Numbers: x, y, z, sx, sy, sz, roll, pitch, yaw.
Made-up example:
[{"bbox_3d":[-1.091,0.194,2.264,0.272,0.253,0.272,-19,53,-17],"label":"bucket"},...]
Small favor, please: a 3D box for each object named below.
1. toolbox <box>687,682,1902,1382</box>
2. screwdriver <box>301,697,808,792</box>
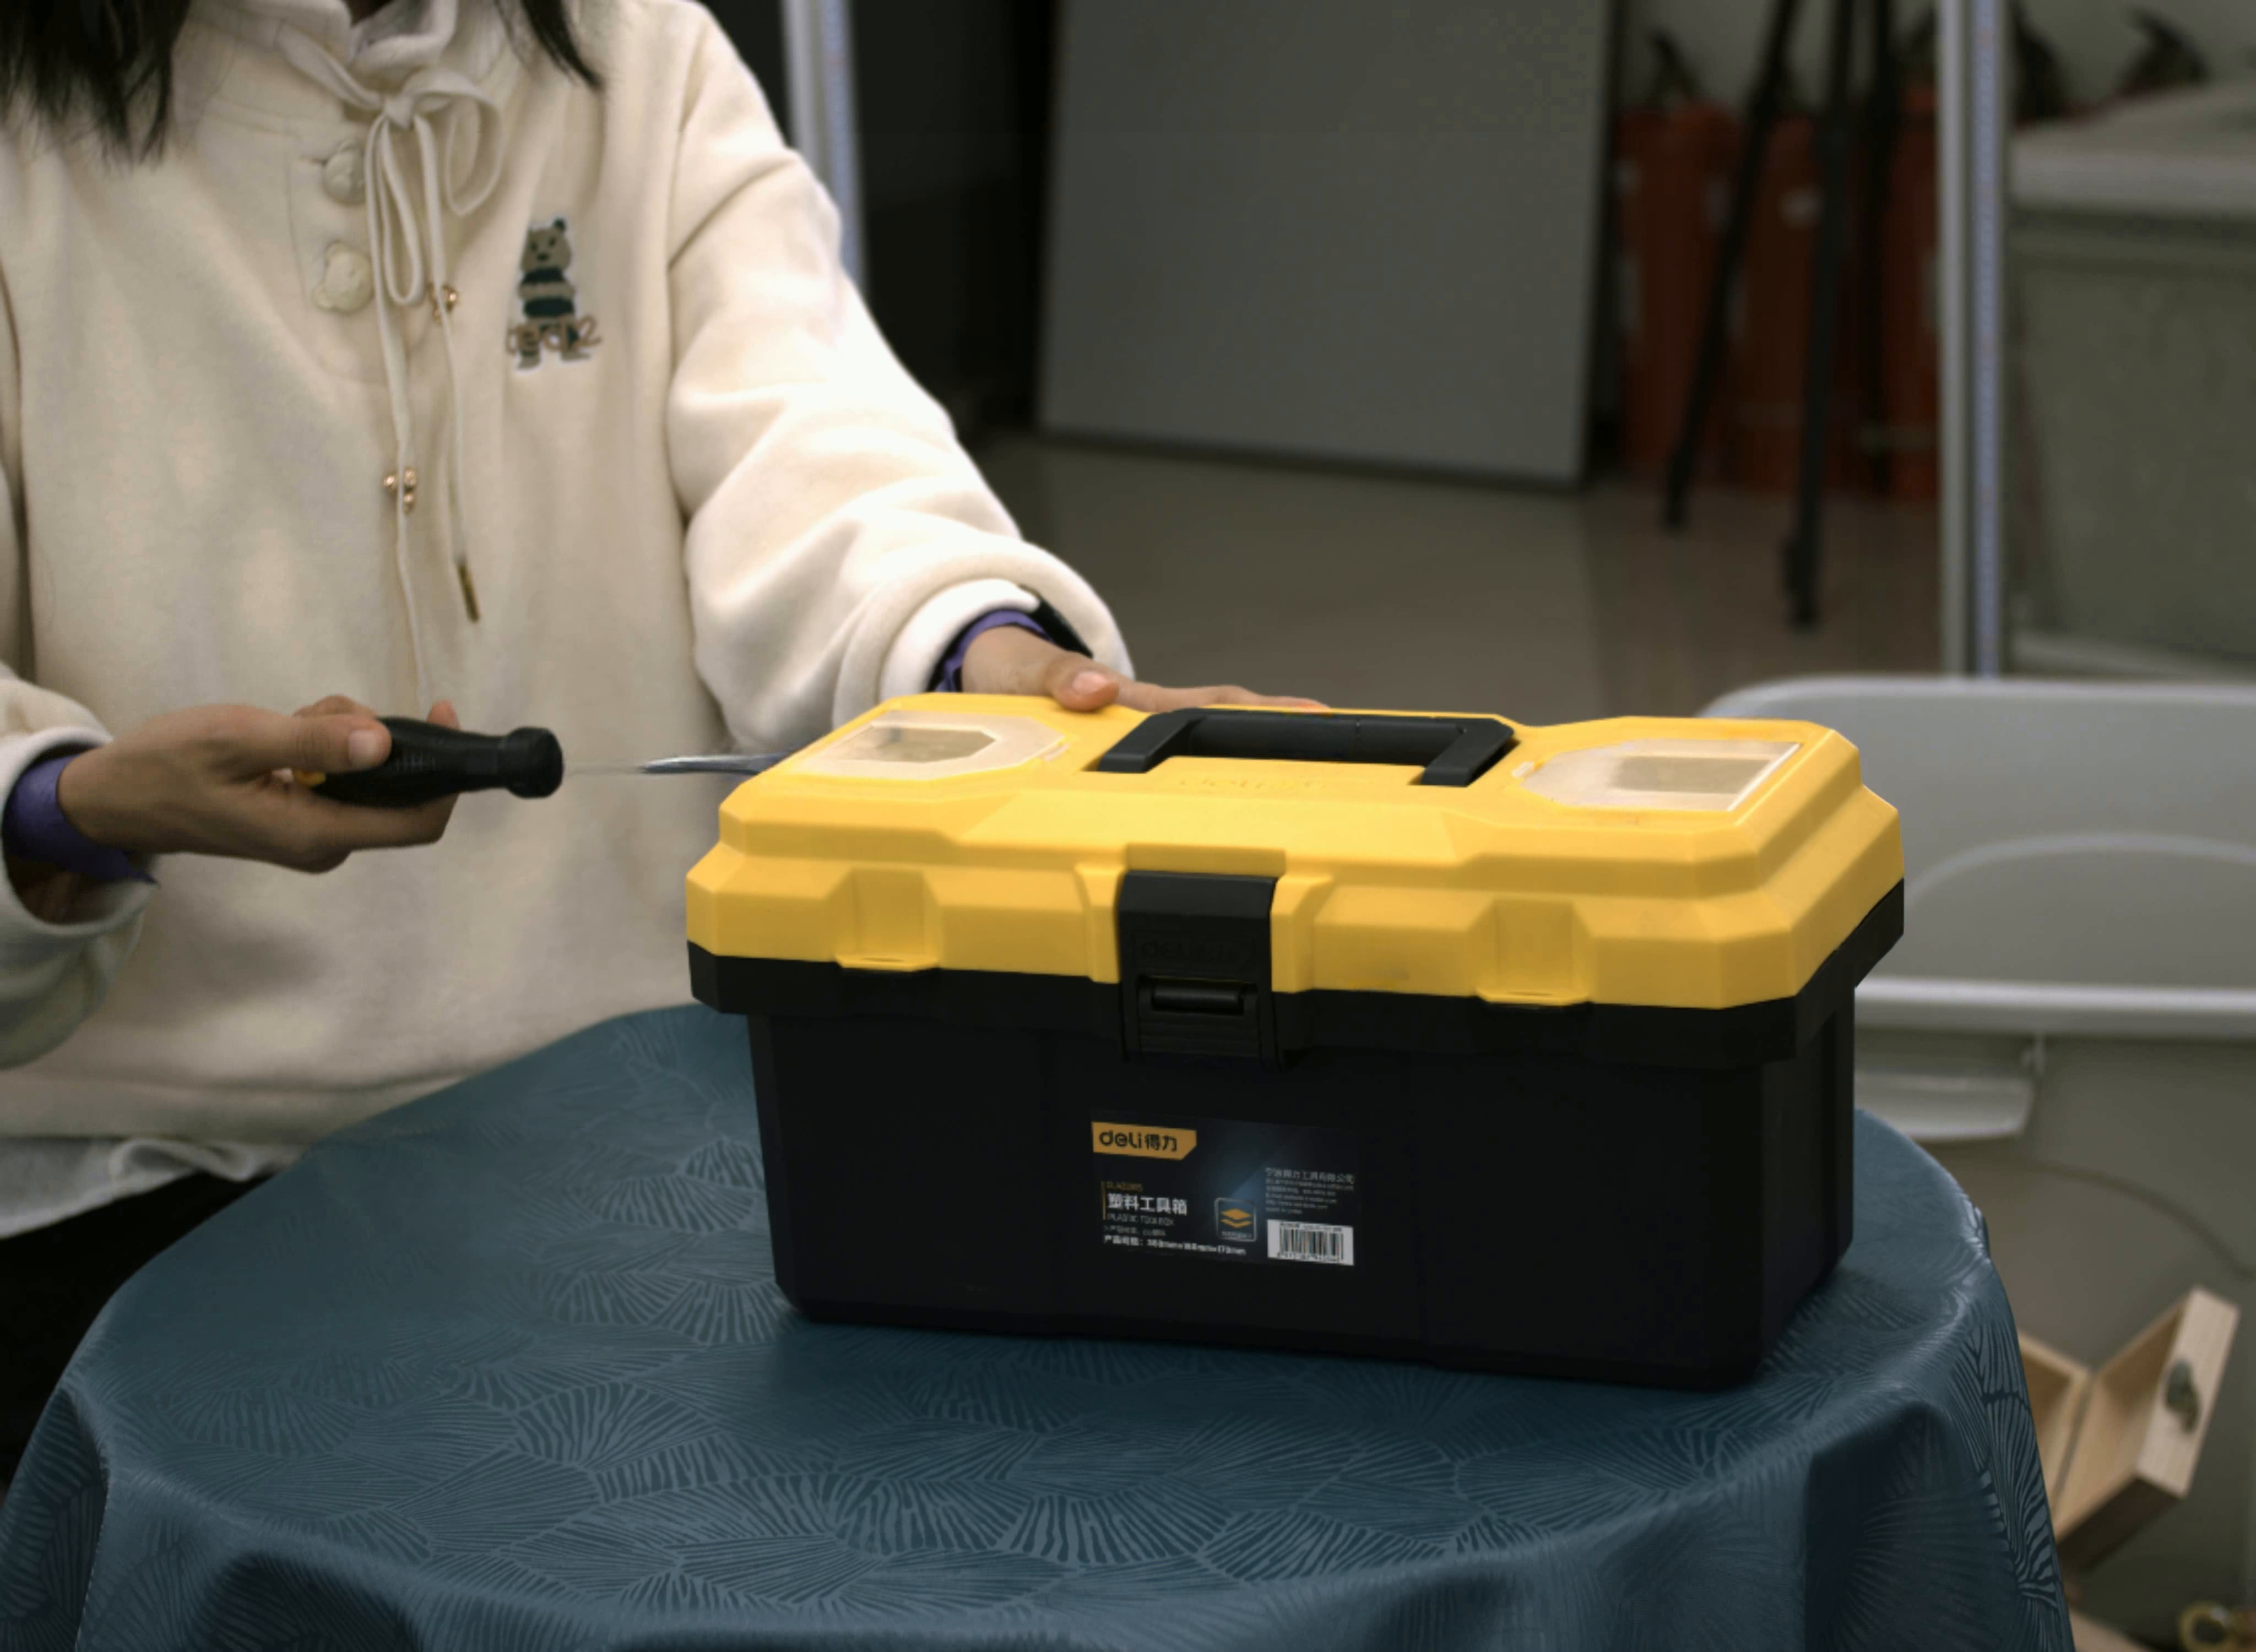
[{"bbox_3d":[0.052,0.059,1.641,0.351,0.175,0.179,2,14,23],"label":"toolbox"},{"bbox_3d":[-0.185,-0.028,1.753,0.198,0.032,0.031,-1,13,29],"label":"screwdriver"}]
